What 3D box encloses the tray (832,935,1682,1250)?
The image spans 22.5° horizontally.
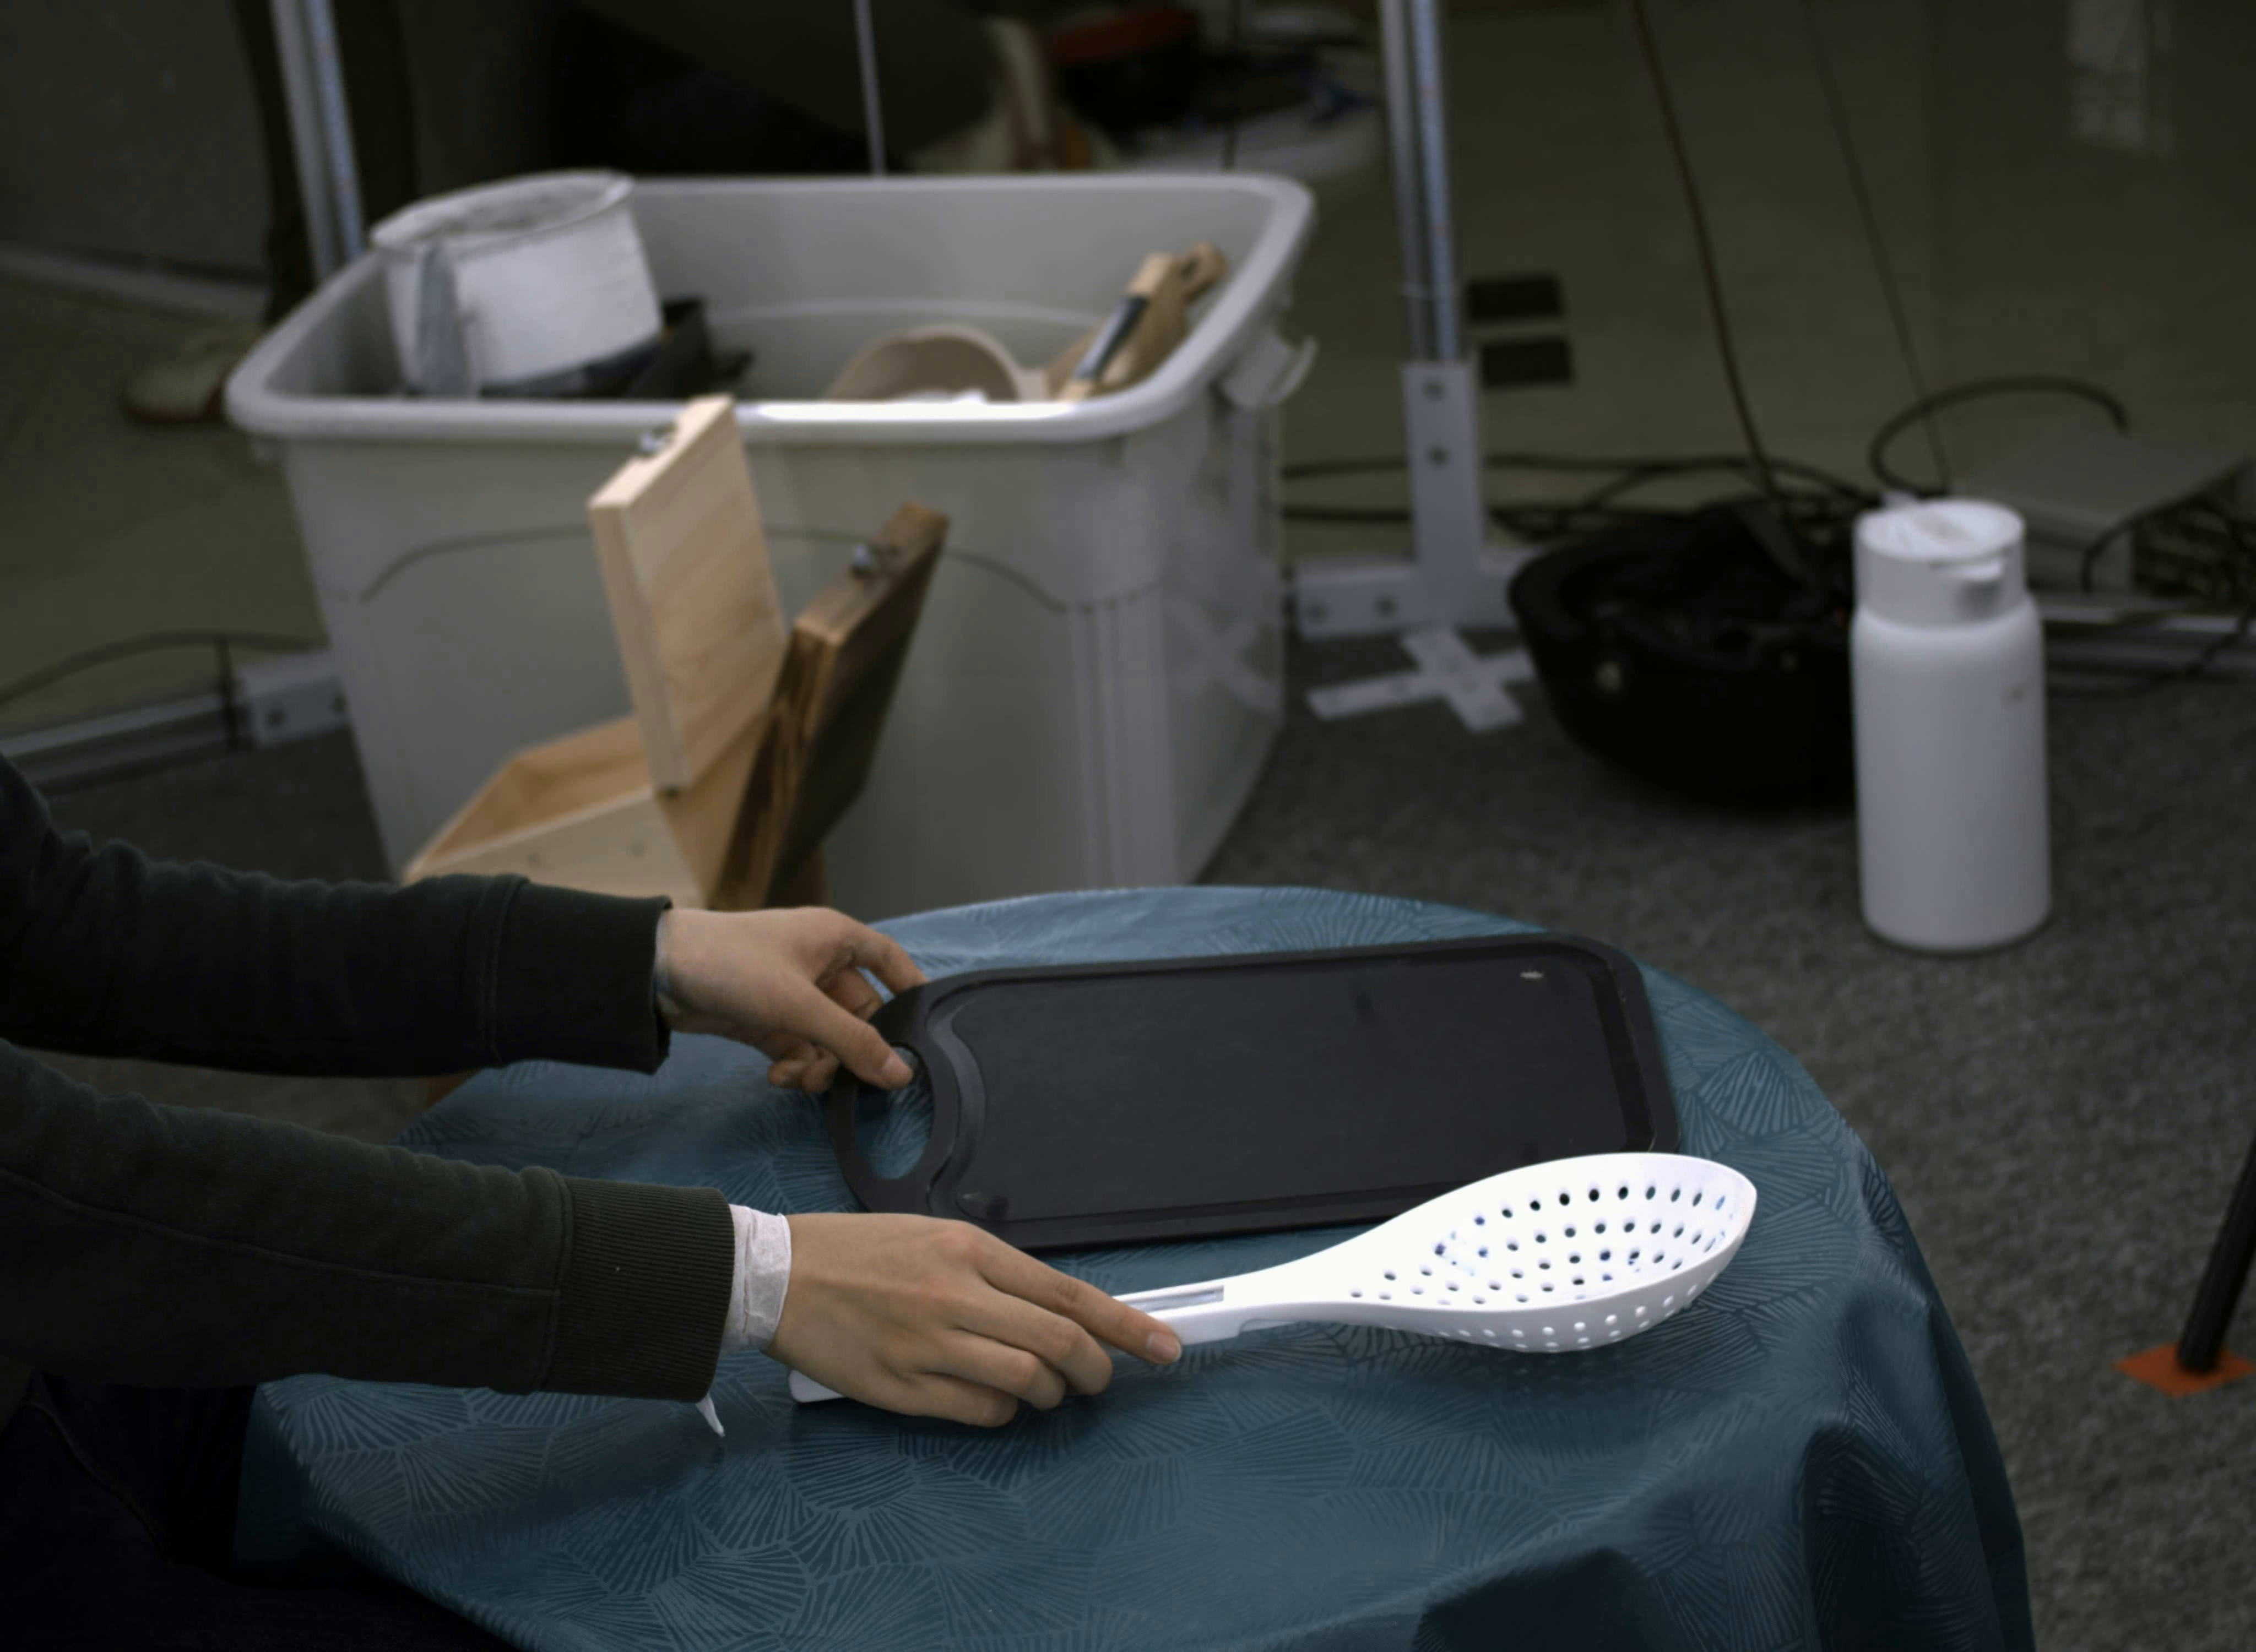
[{"bbox_3d":[0.047,0.101,2.200,0.325,0.010,0.208,-5,27,1],"label":"tray"}]

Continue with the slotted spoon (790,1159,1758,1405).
[{"bbox_3d":[0.051,0.168,2.022,0.349,0.046,0.134,-5,16,4],"label":"slotted spoon"}]
